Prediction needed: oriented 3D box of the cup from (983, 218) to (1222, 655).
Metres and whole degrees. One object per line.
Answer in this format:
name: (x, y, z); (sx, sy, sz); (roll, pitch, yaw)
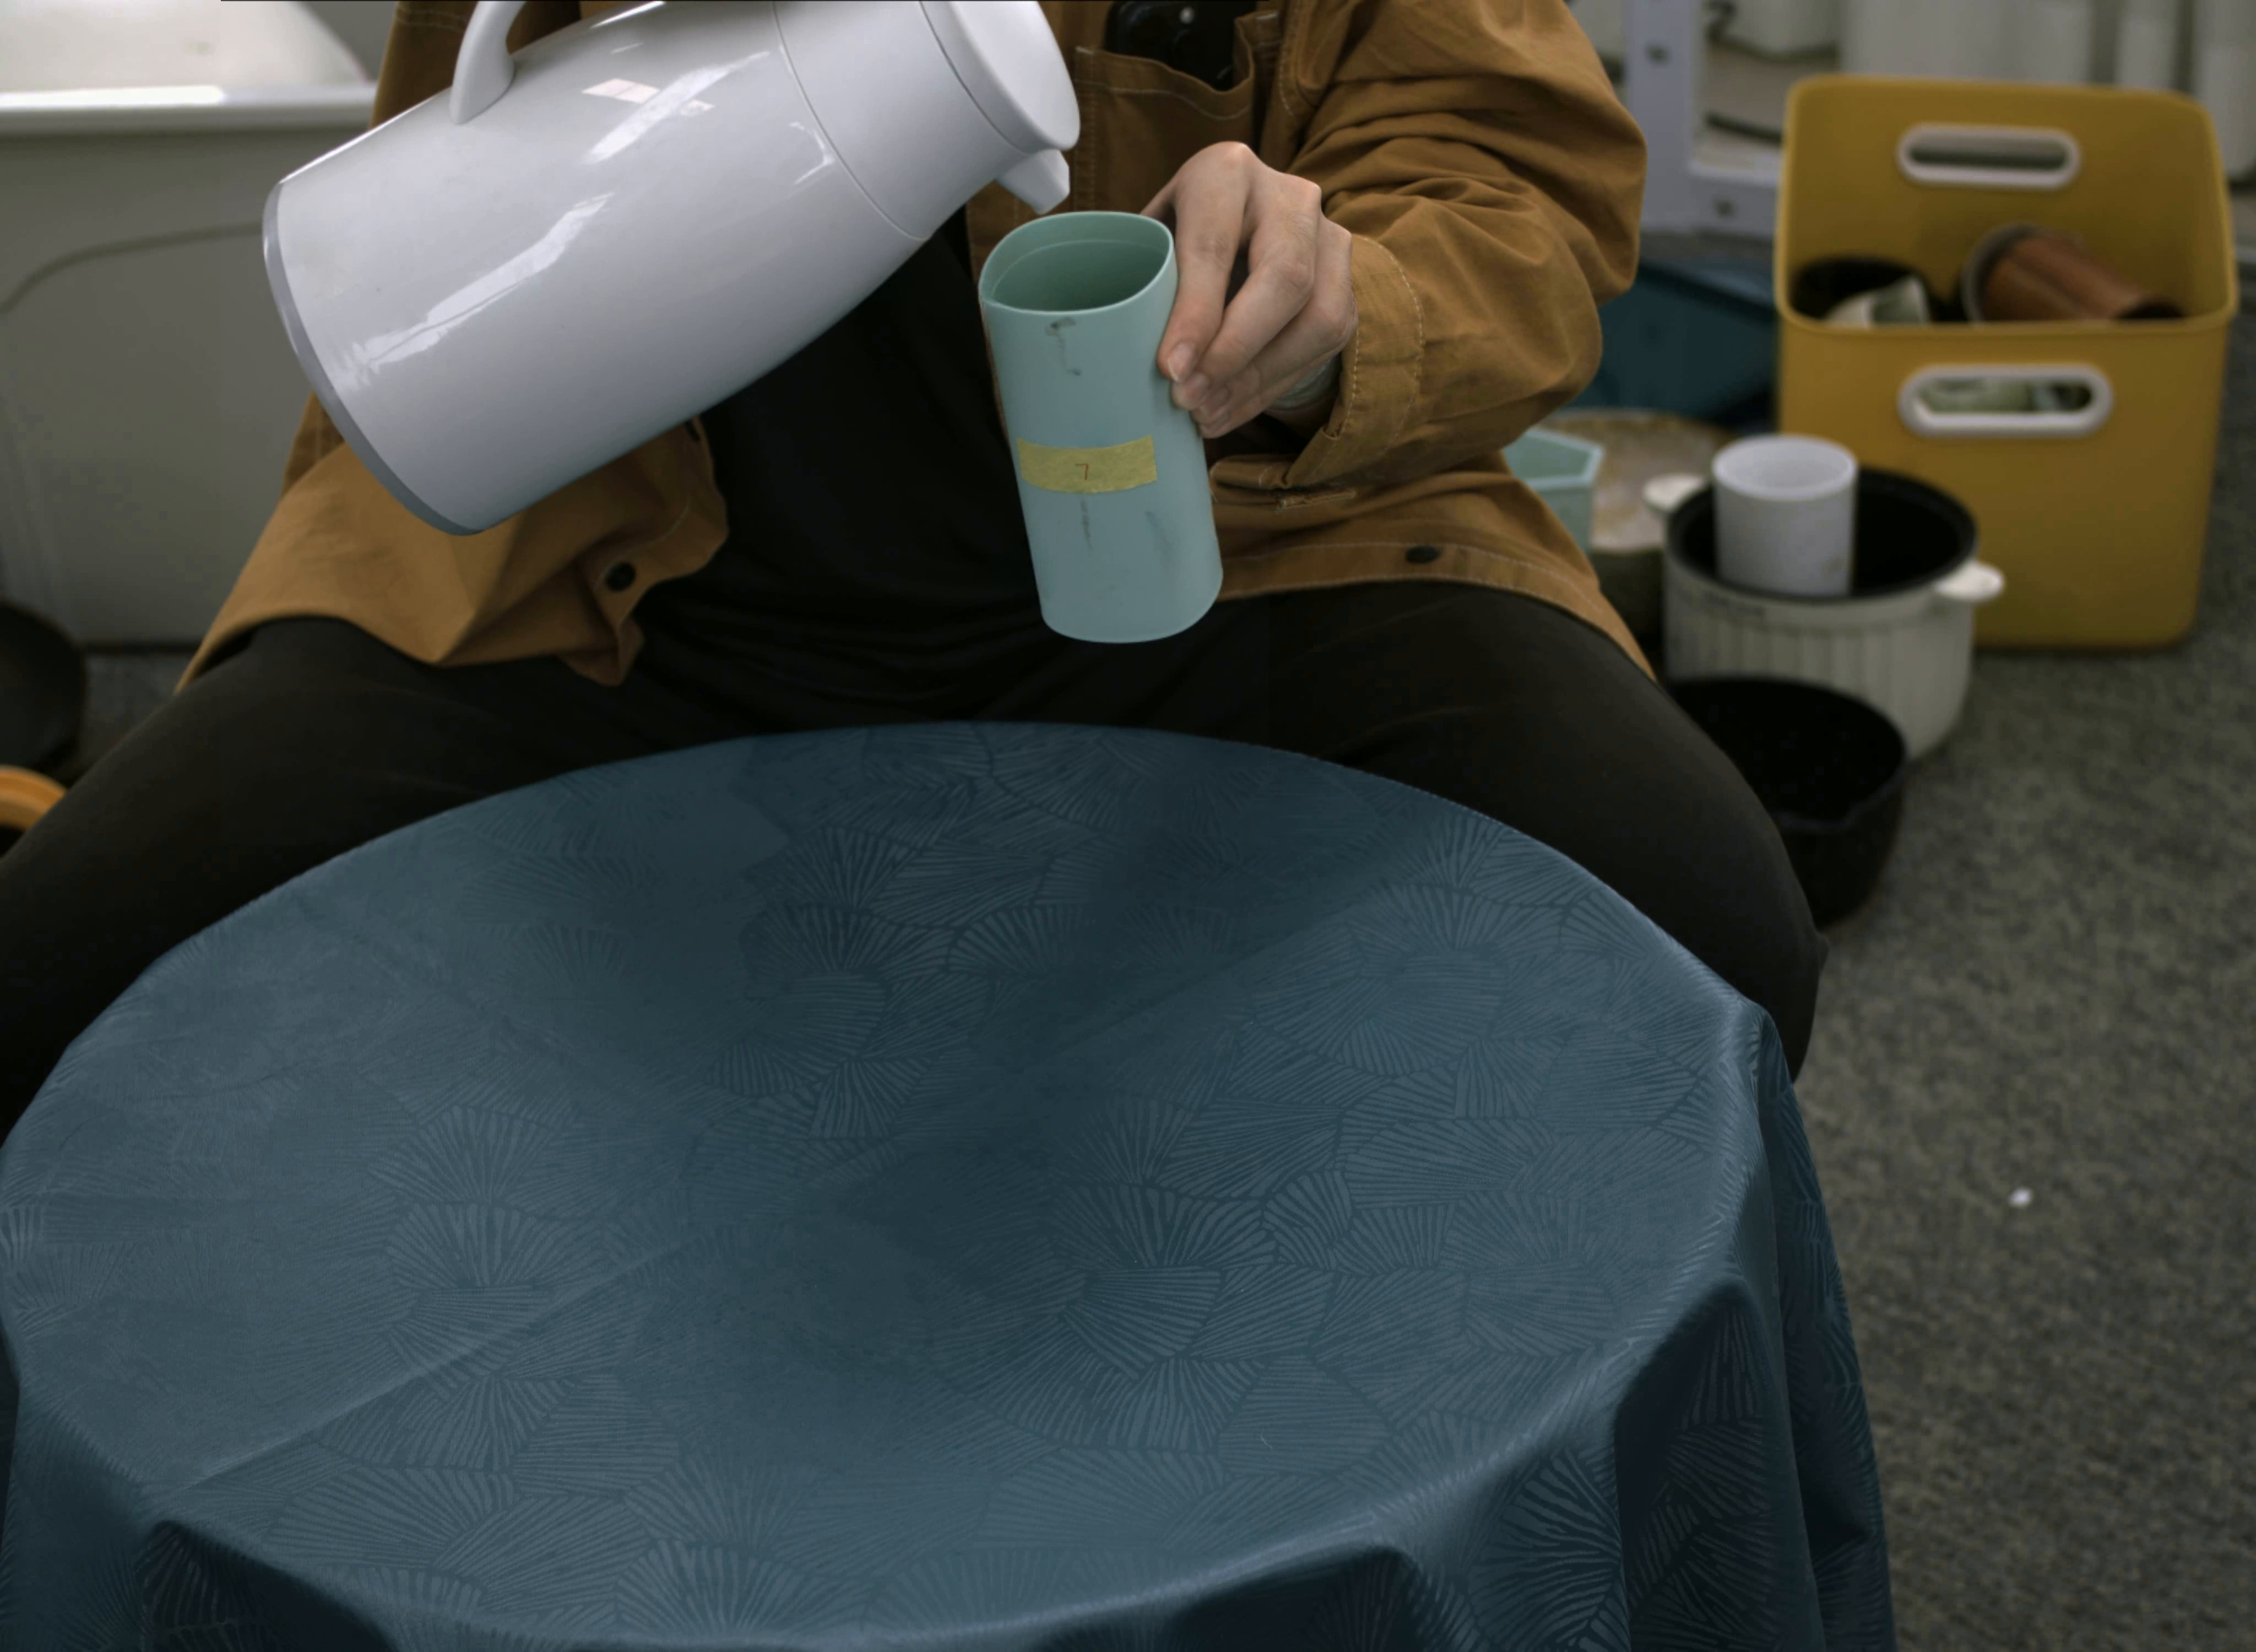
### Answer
cup: (-0.007, -0.129, 1.857); (0.066, 0.130, 0.068); (-6, 35, 4)

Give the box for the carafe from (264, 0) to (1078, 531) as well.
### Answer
carafe: (-0.148, -0.219, 1.798); (0.246, 0.166, 0.135); (-27, 33, 16)
